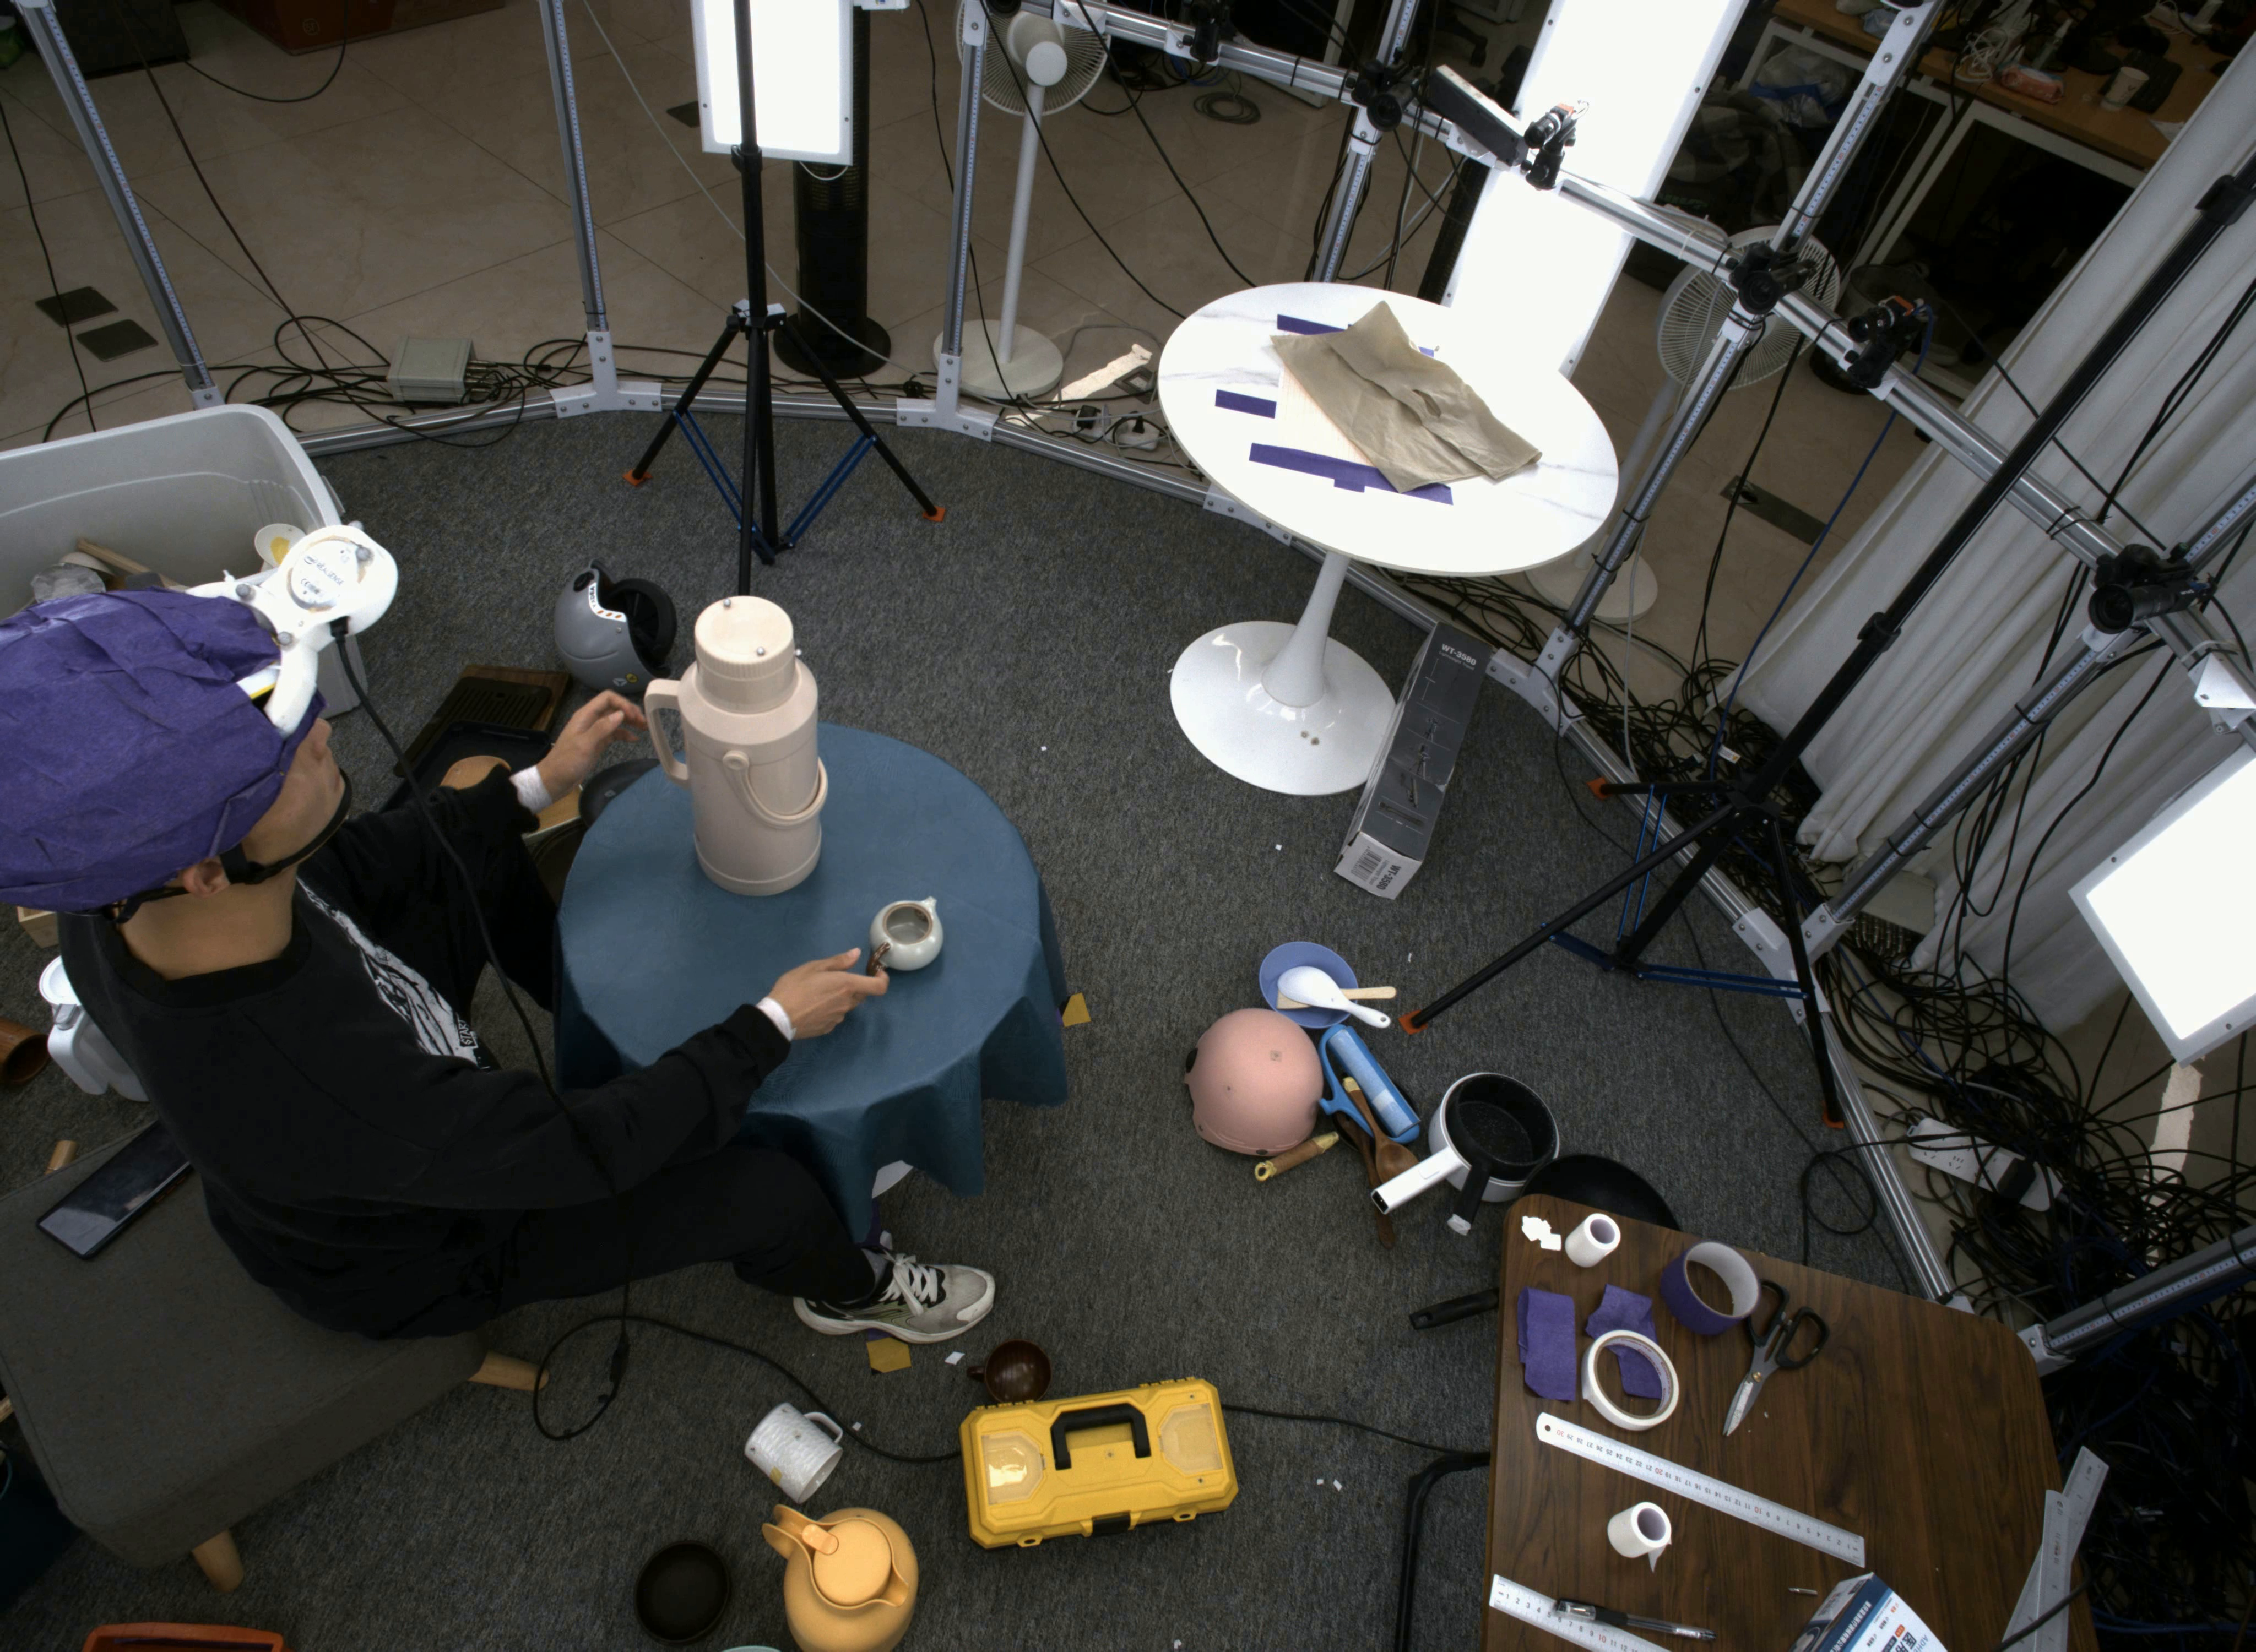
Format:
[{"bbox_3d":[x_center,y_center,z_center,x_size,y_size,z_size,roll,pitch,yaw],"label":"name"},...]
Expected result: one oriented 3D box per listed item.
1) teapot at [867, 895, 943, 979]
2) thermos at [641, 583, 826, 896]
[{"bbox_3d":[-0.281,0.139,1.616,0.091,0.060,0.128,34,52,7],"label":"teapot"},{"bbox_3d":[-0.464,-0.100,1.529,0.207,0.414,0.172,4,53,-9],"label":"thermos"}]
